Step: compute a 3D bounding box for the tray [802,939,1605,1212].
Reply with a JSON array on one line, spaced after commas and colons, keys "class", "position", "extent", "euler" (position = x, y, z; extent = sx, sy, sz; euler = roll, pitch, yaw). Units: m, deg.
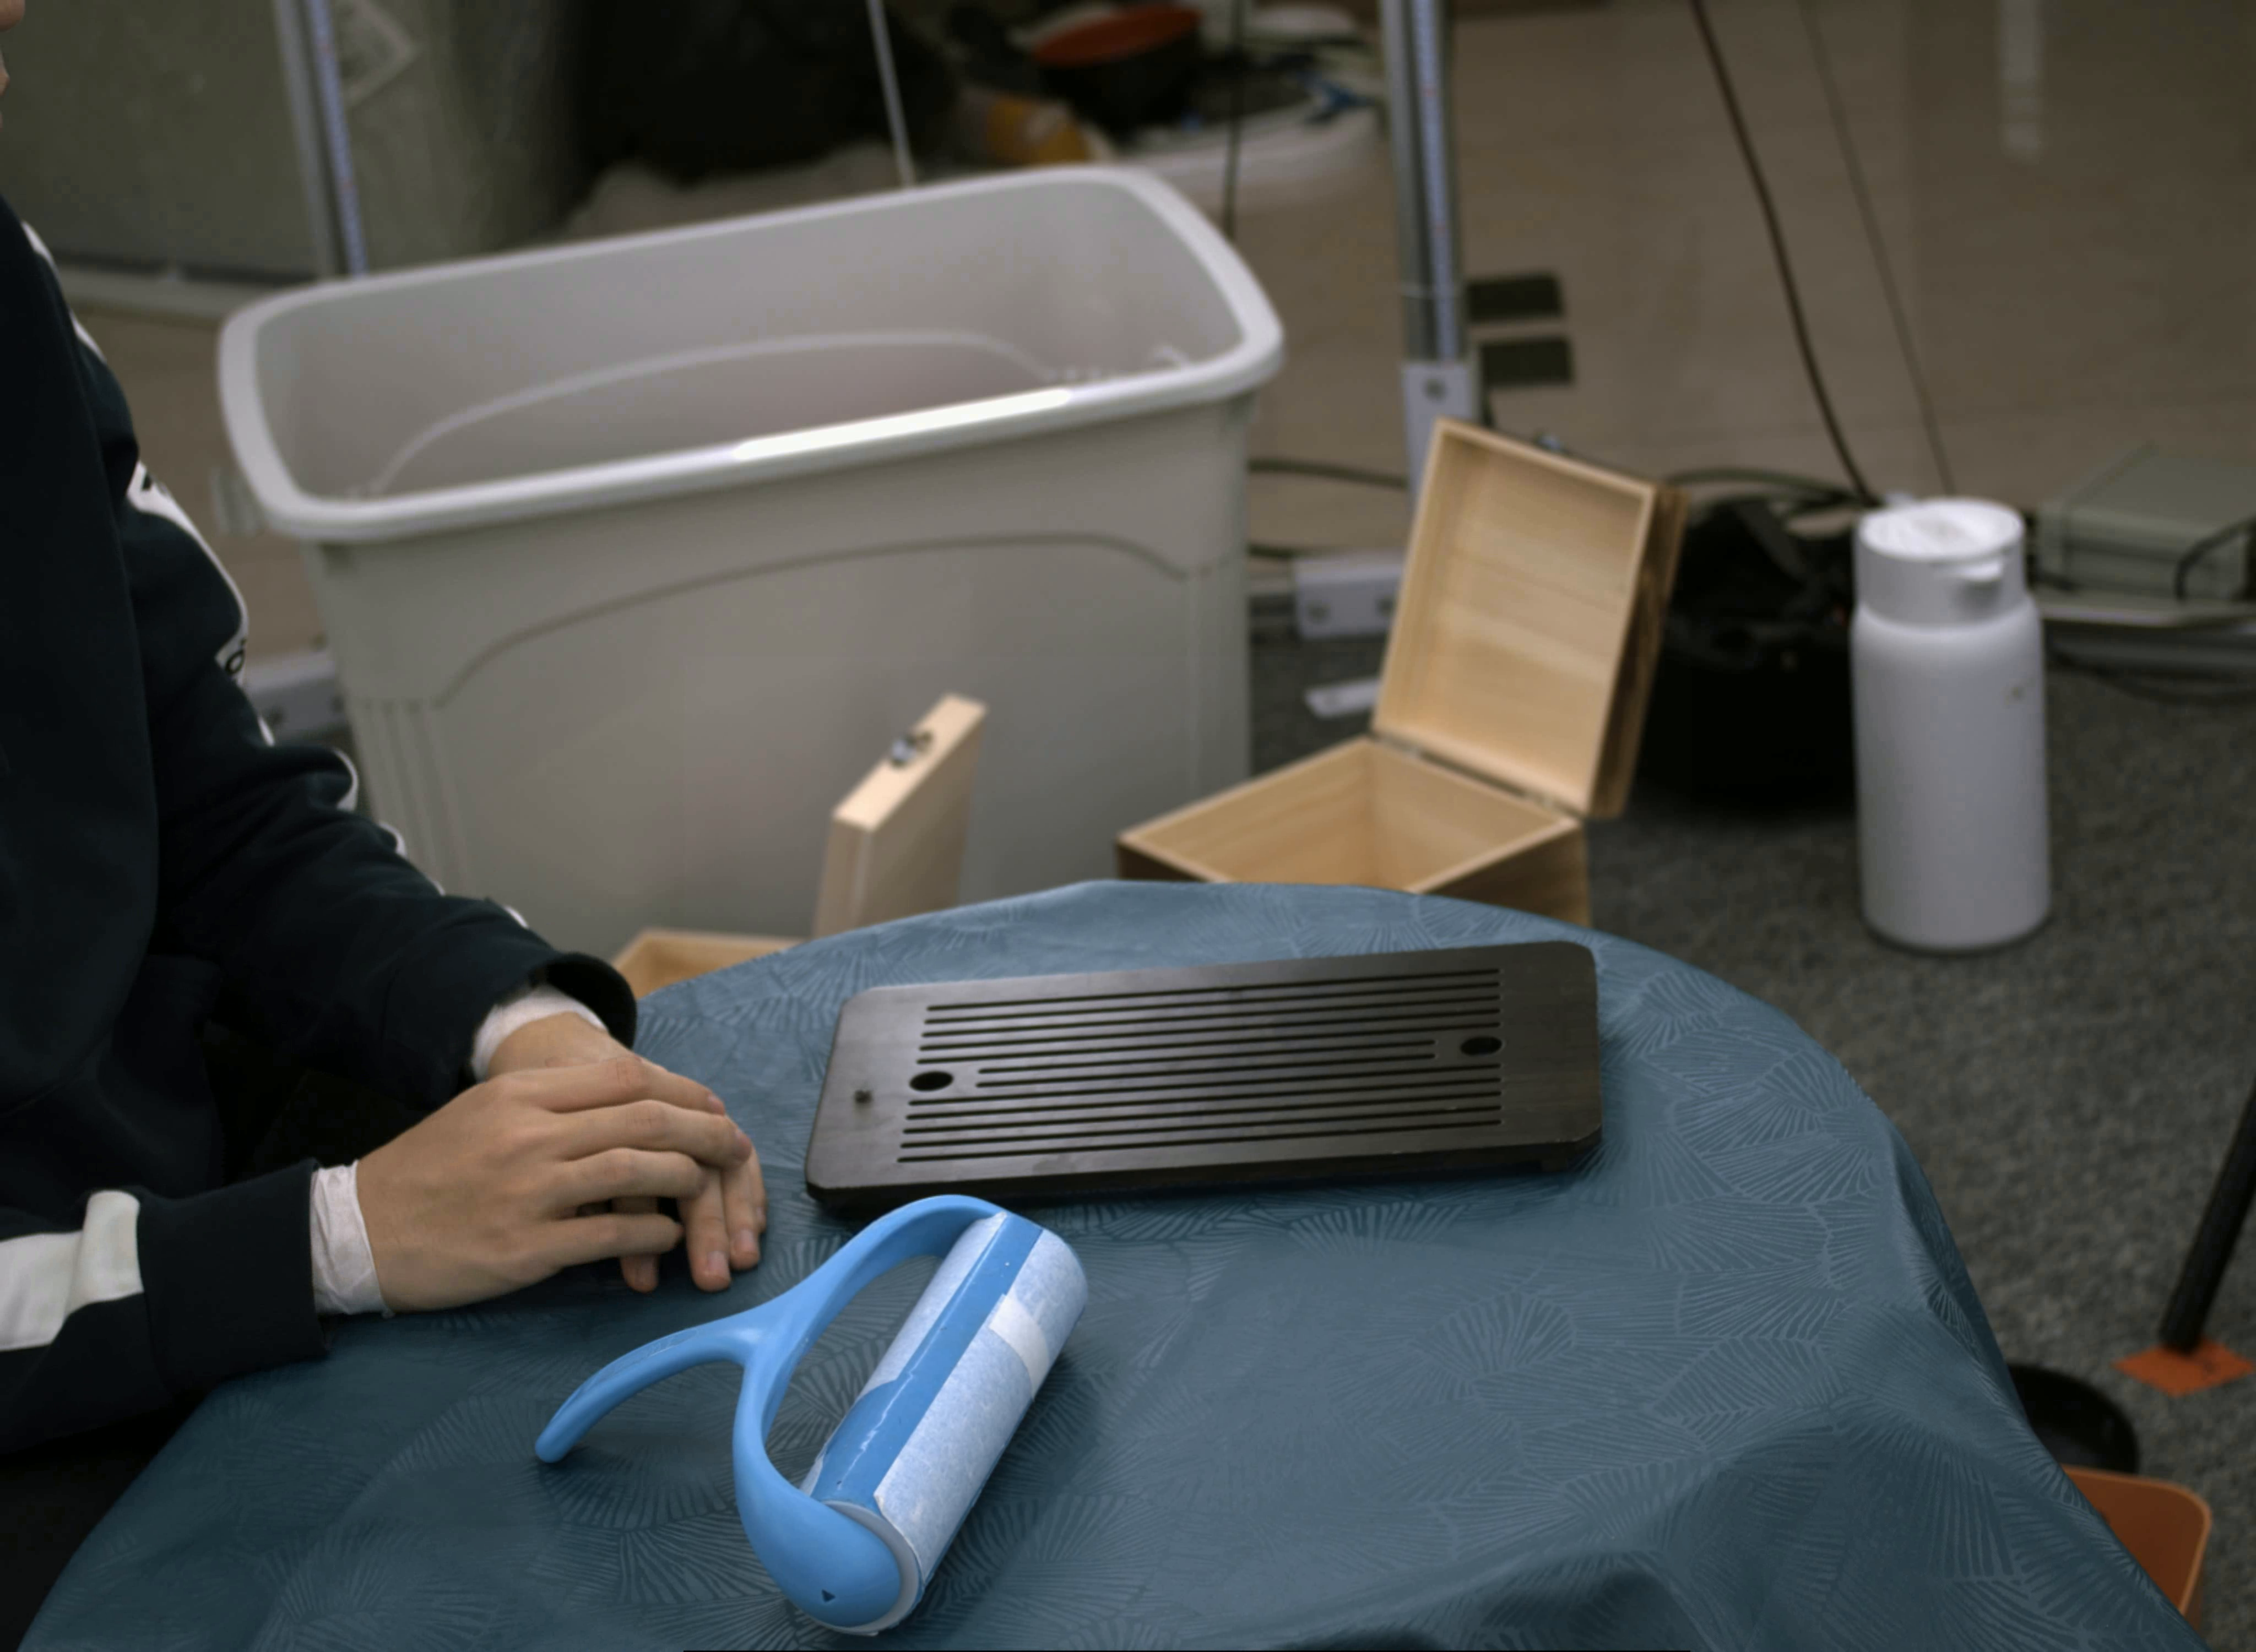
[{"class": "tray", "position": [0.031, 0.097, 2.204], "extent": [0.305, 0.019, 0.167], "euler": [-4, 25, 5]}]

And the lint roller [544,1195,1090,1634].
[{"class": "lint roller", "position": [-0.123, 0.201, 1.973], "extent": [0.180, 0.069, 0.225], "euler": [2, 28, 14]}]
